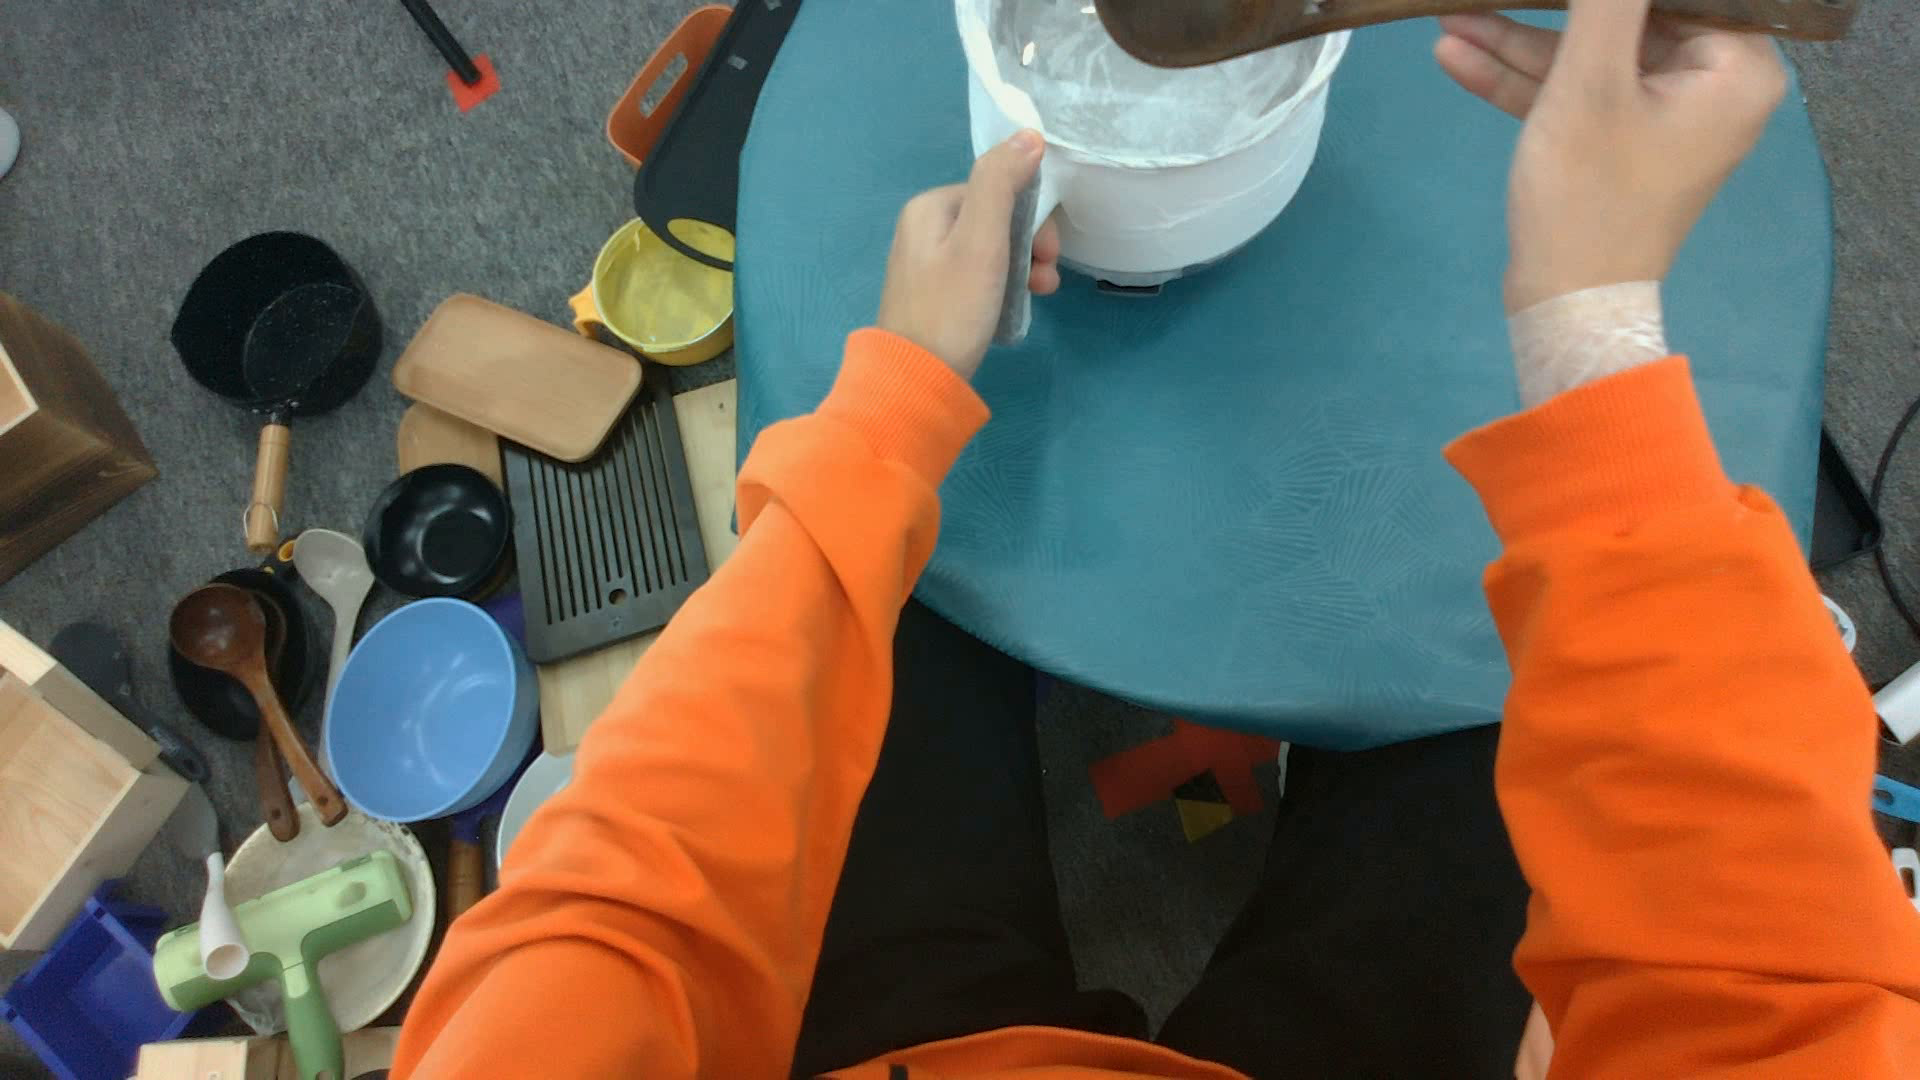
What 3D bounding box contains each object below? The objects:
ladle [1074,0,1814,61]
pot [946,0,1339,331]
[{"bbox_3d":[0.153,-0.212,0.499,0.274,0.071,0.076,21,91,46],"label":"ladle"},{"bbox_3d":[0.070,-0.213,0.670,0.179,0.136,0.234,32,79,12],"label":"pot"}]
